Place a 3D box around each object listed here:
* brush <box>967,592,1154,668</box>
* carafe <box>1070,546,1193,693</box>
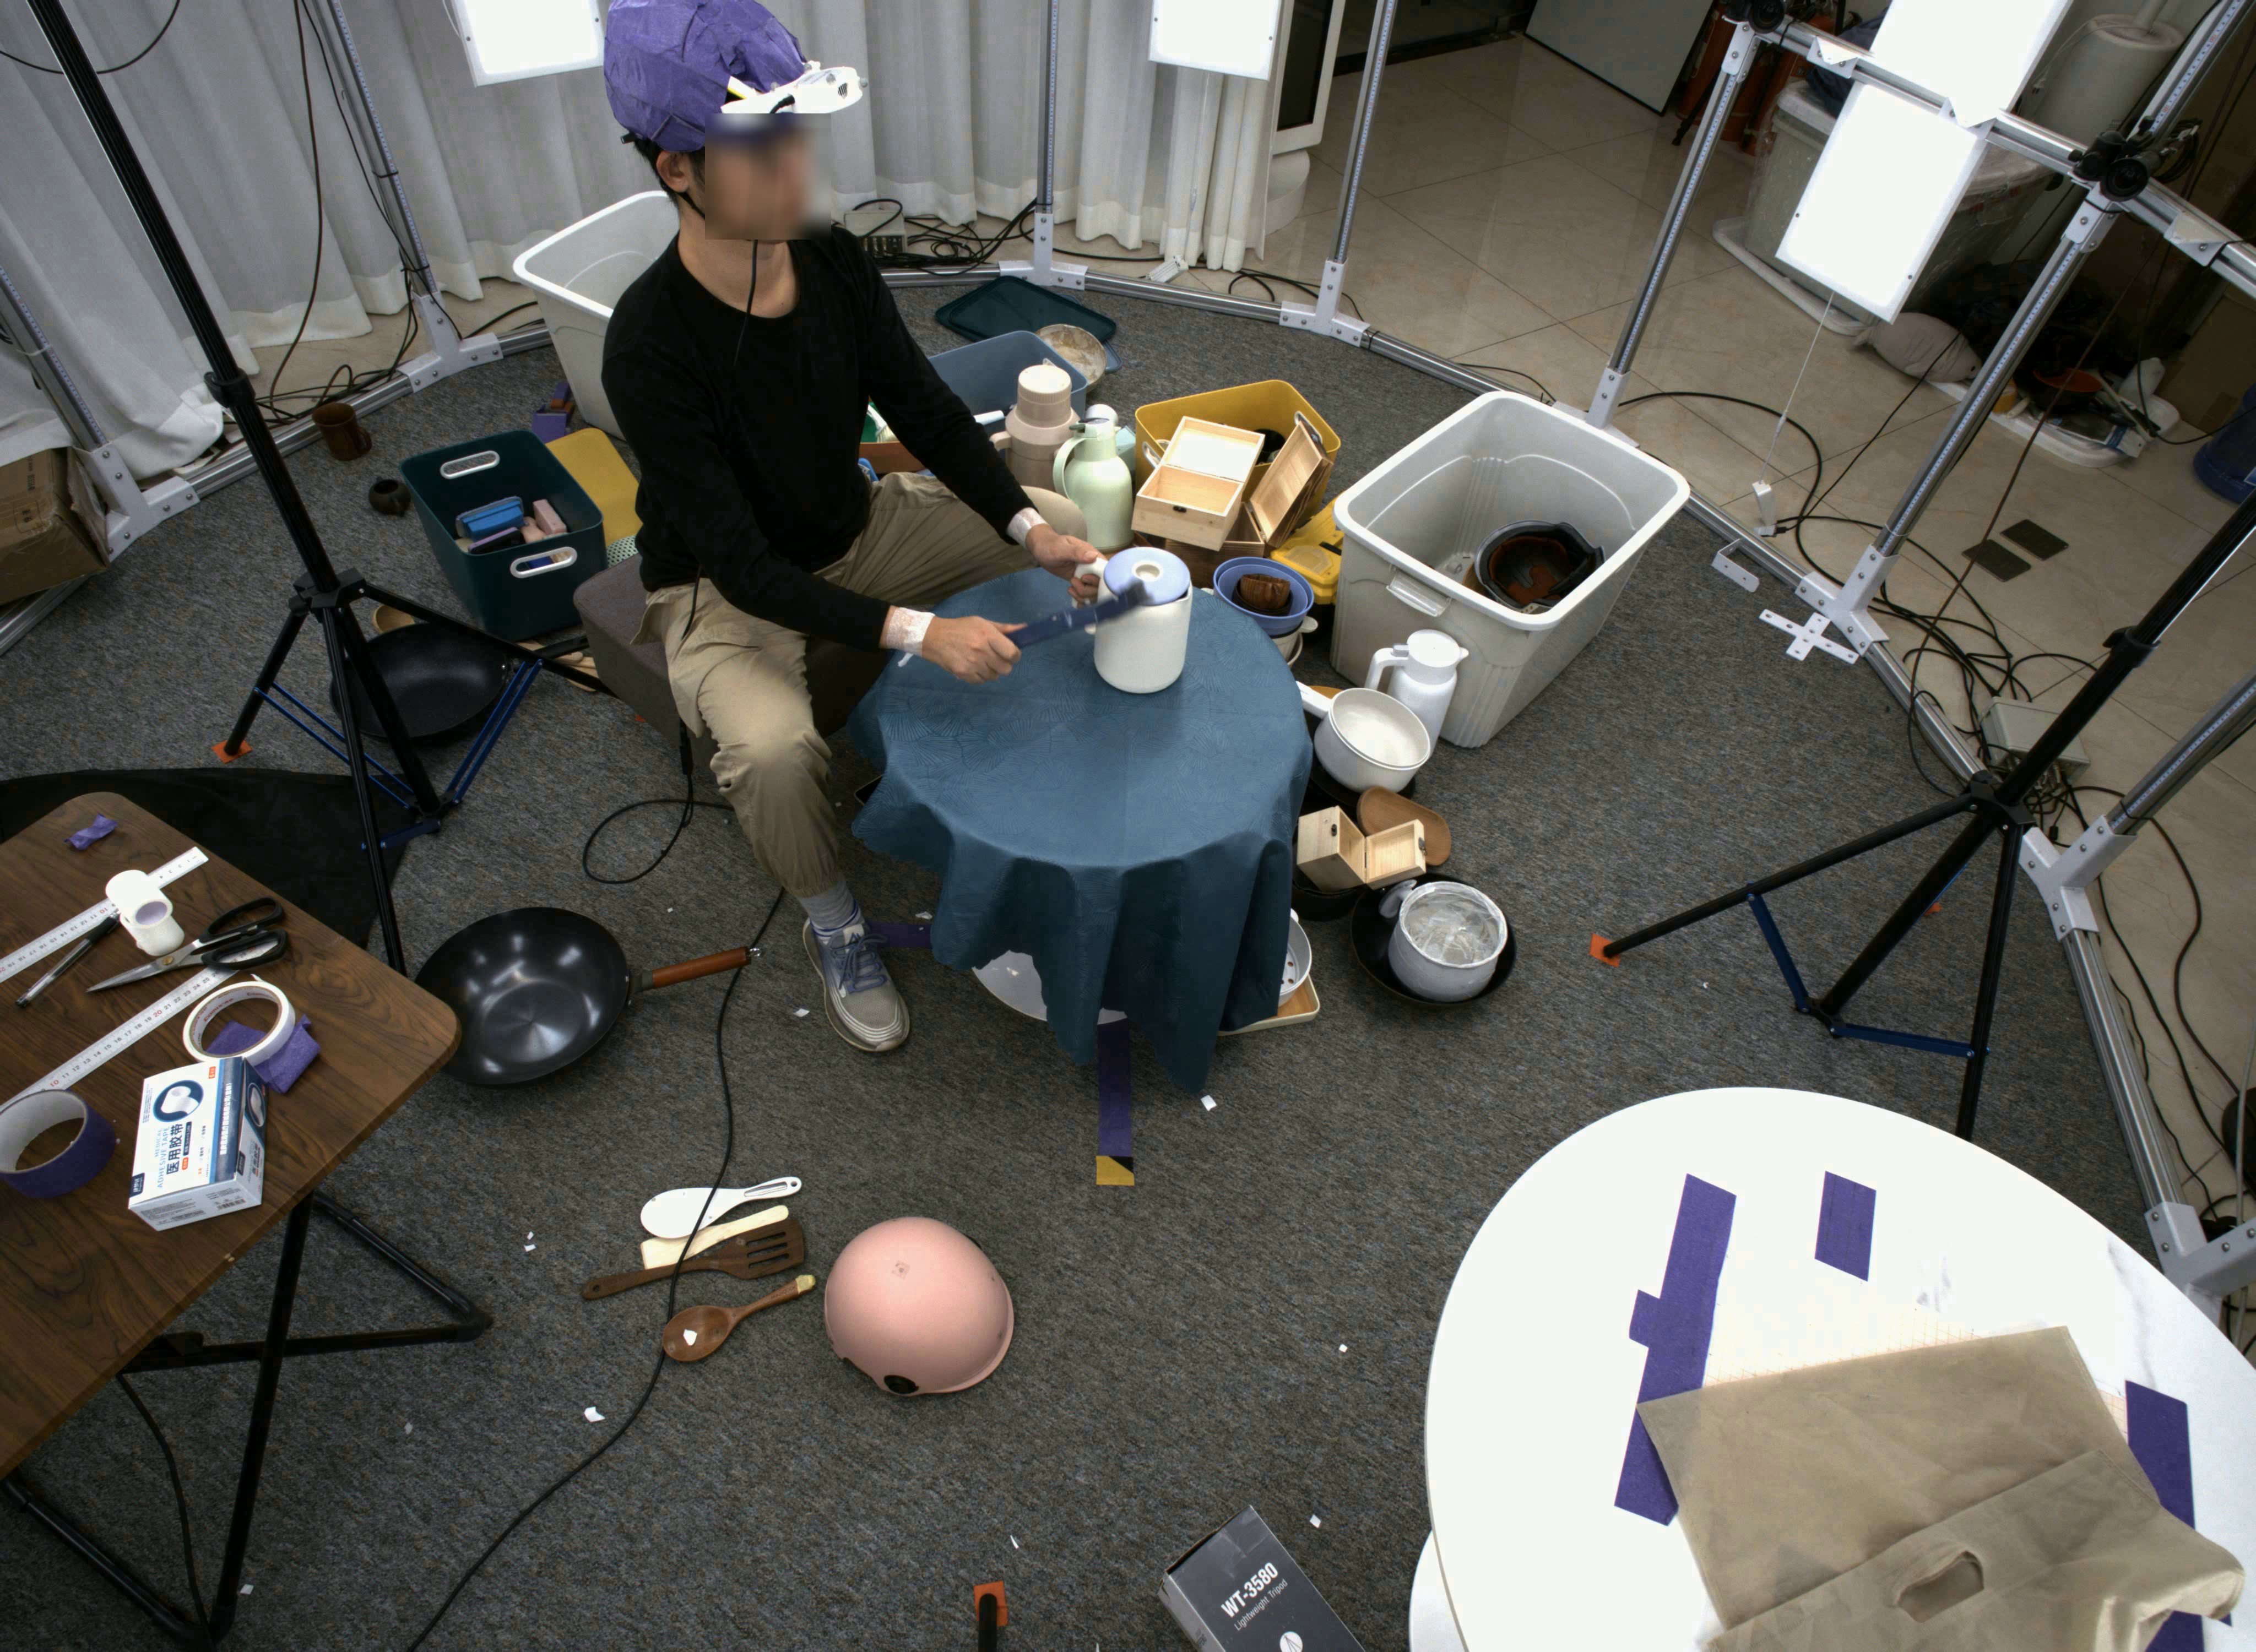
[{"bbox_3d":[-0.098,-0.259,1.686,0.273,0.095,0.033,-13,86,17],"label":"brush"},{"bbox_3d":[0.000,-0.301,1.820,0.193,0.178,0.134,27,52,19],"label":"carafe"}]
